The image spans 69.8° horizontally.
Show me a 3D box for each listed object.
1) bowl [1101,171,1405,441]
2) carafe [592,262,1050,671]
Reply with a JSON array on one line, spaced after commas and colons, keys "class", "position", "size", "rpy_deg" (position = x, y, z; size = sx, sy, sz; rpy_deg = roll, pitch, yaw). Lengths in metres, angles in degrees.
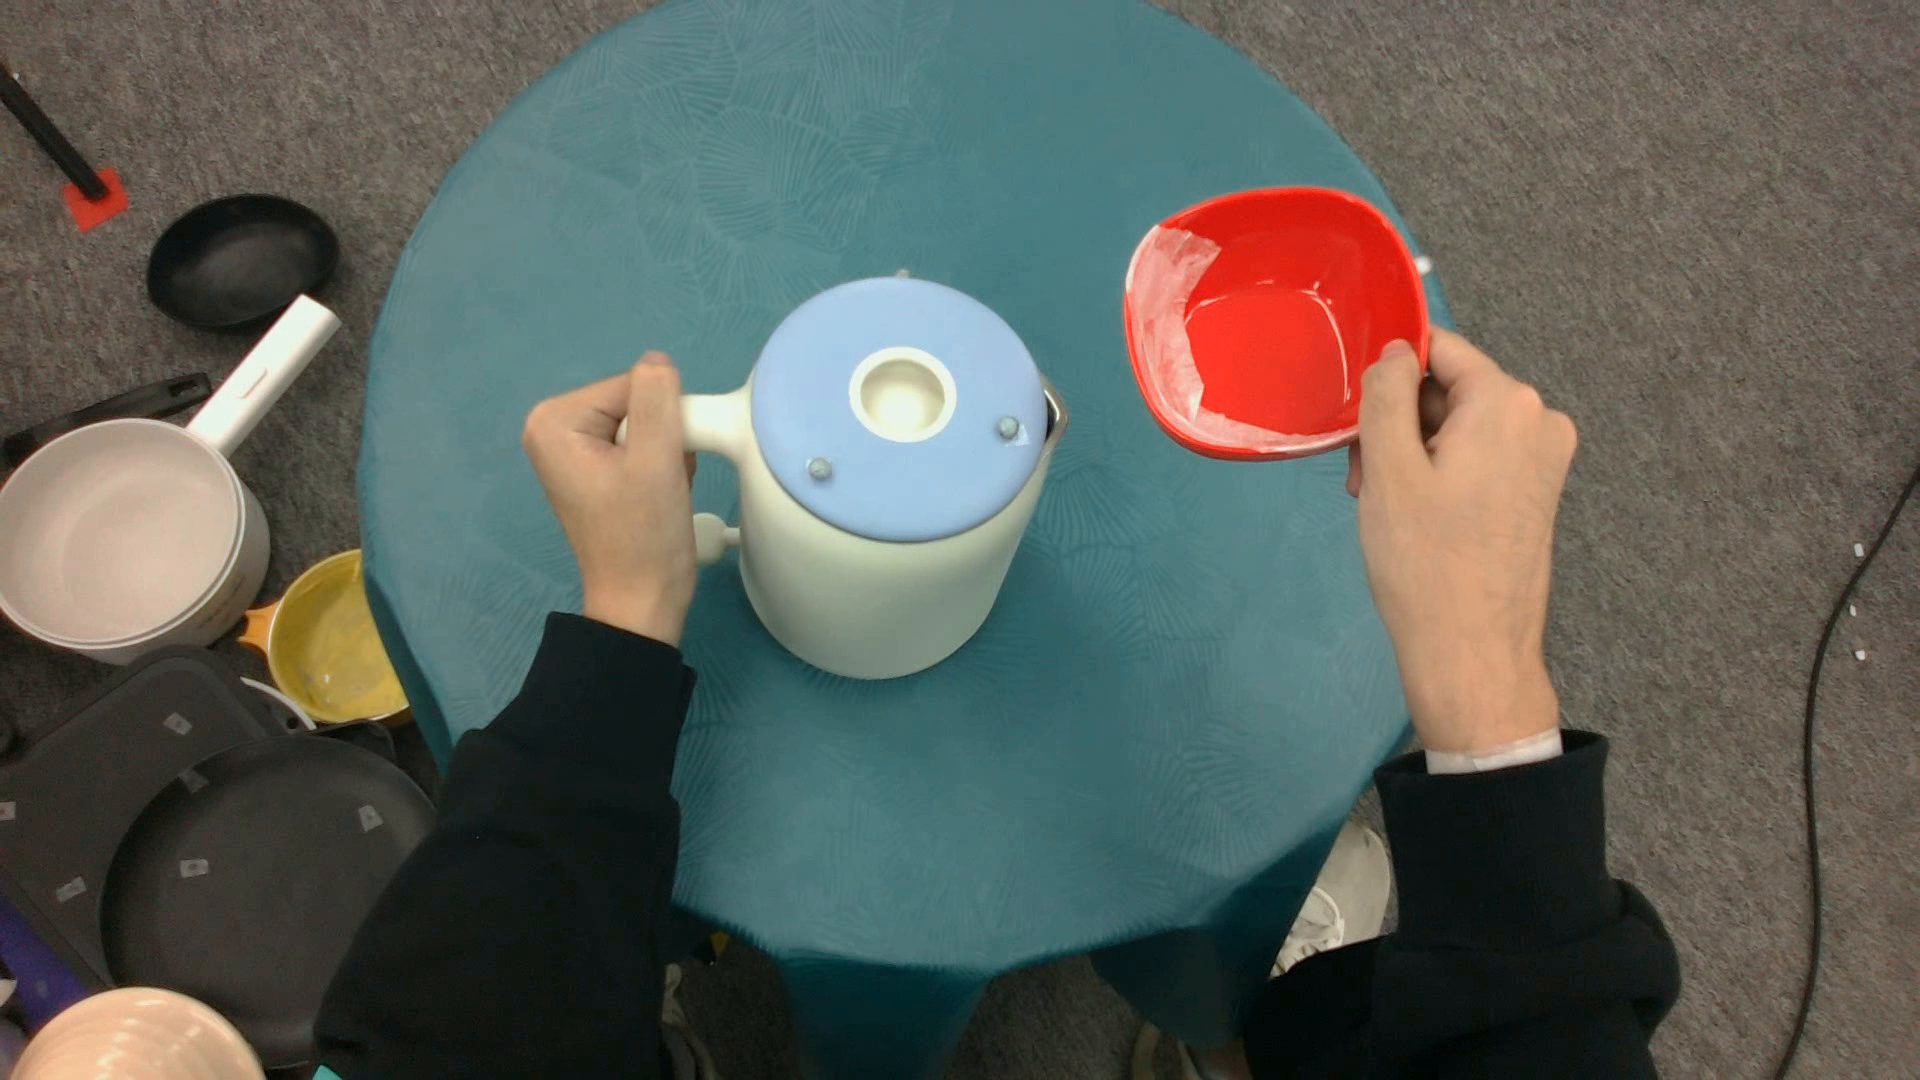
[{"class": "bowl", "position": [0.111, -0.083, 0.537], "size": [0.119, 0.051, 0.119], "rpy_deg": [-2, 69, 5]}, {"class": "carafe", "position": [-0.066, -0.027, 0.614], "size": [0.191, 0.182, 0.132], "rpy_deg": [-1, 66, -7]}]
